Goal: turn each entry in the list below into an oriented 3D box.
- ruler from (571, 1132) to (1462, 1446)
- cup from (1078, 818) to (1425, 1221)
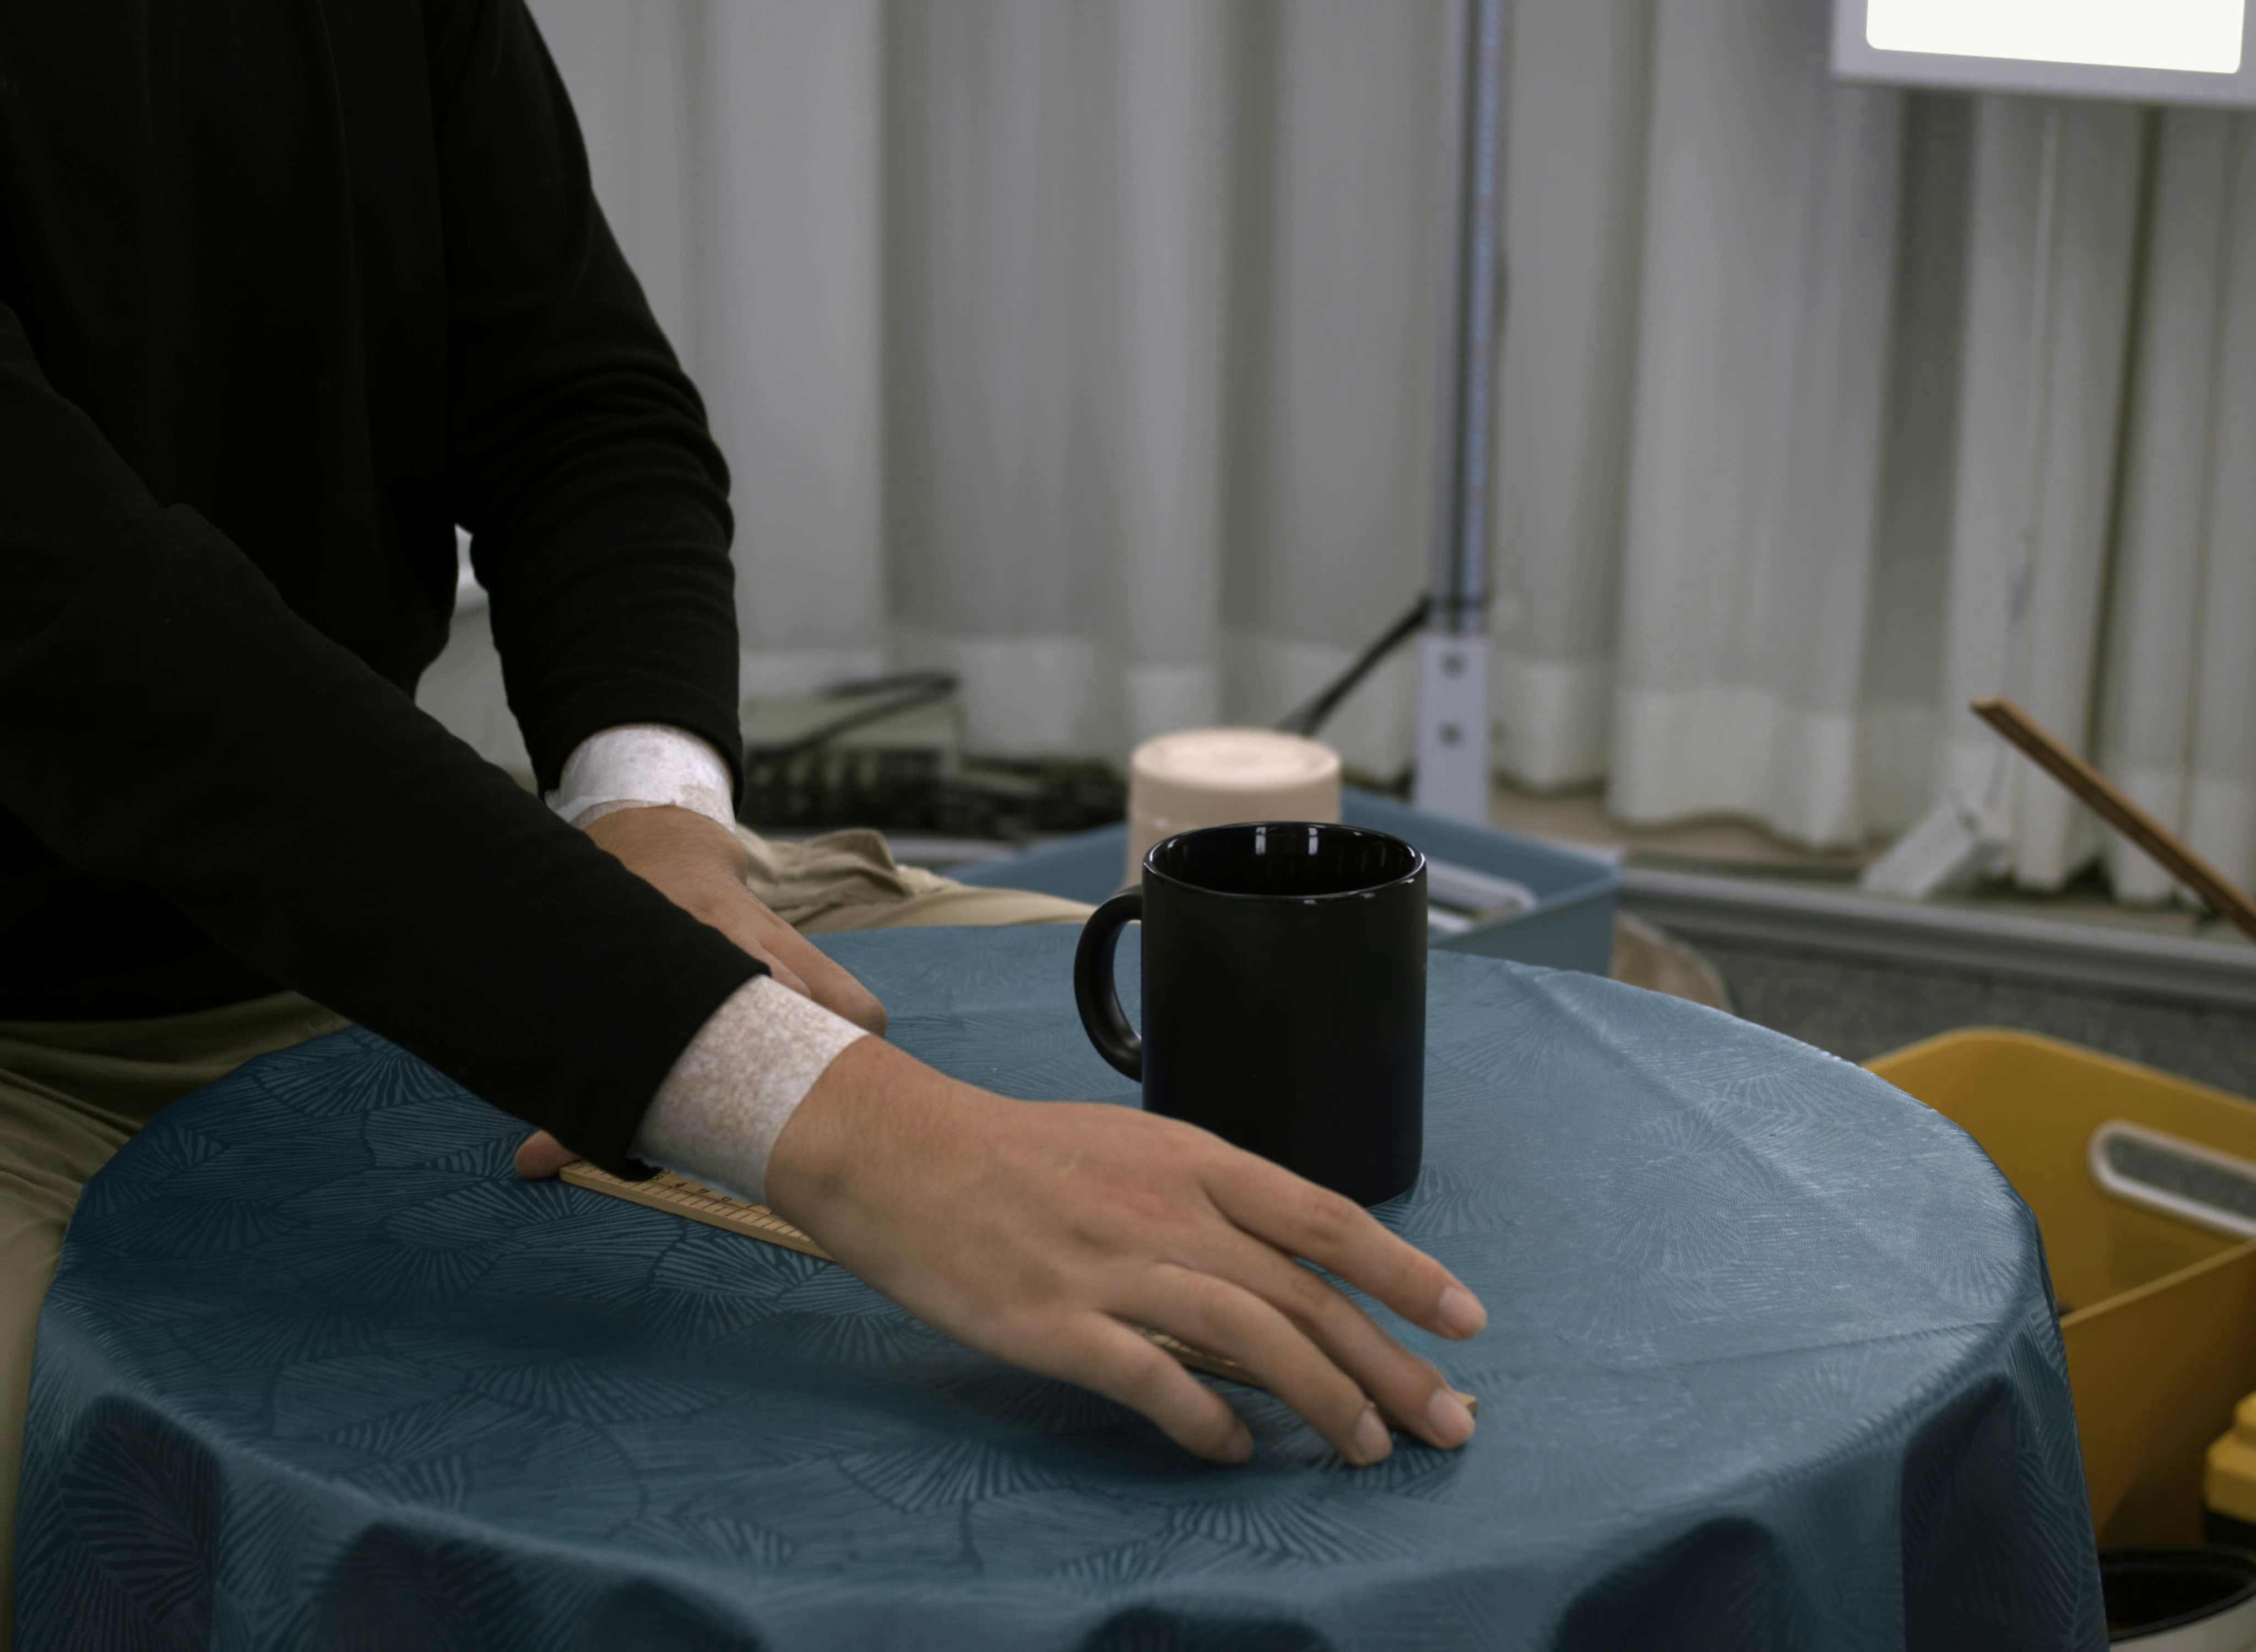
[{"bbox_3d":[-0.041,0.130,1.537,0.327,0.022,0.027,14,17,38],"label":"ruler"},{"bbox_3d":[0.034,0.056,1.634,0.122,0.106,0.089,12,21,38],"label":"cup"}]
